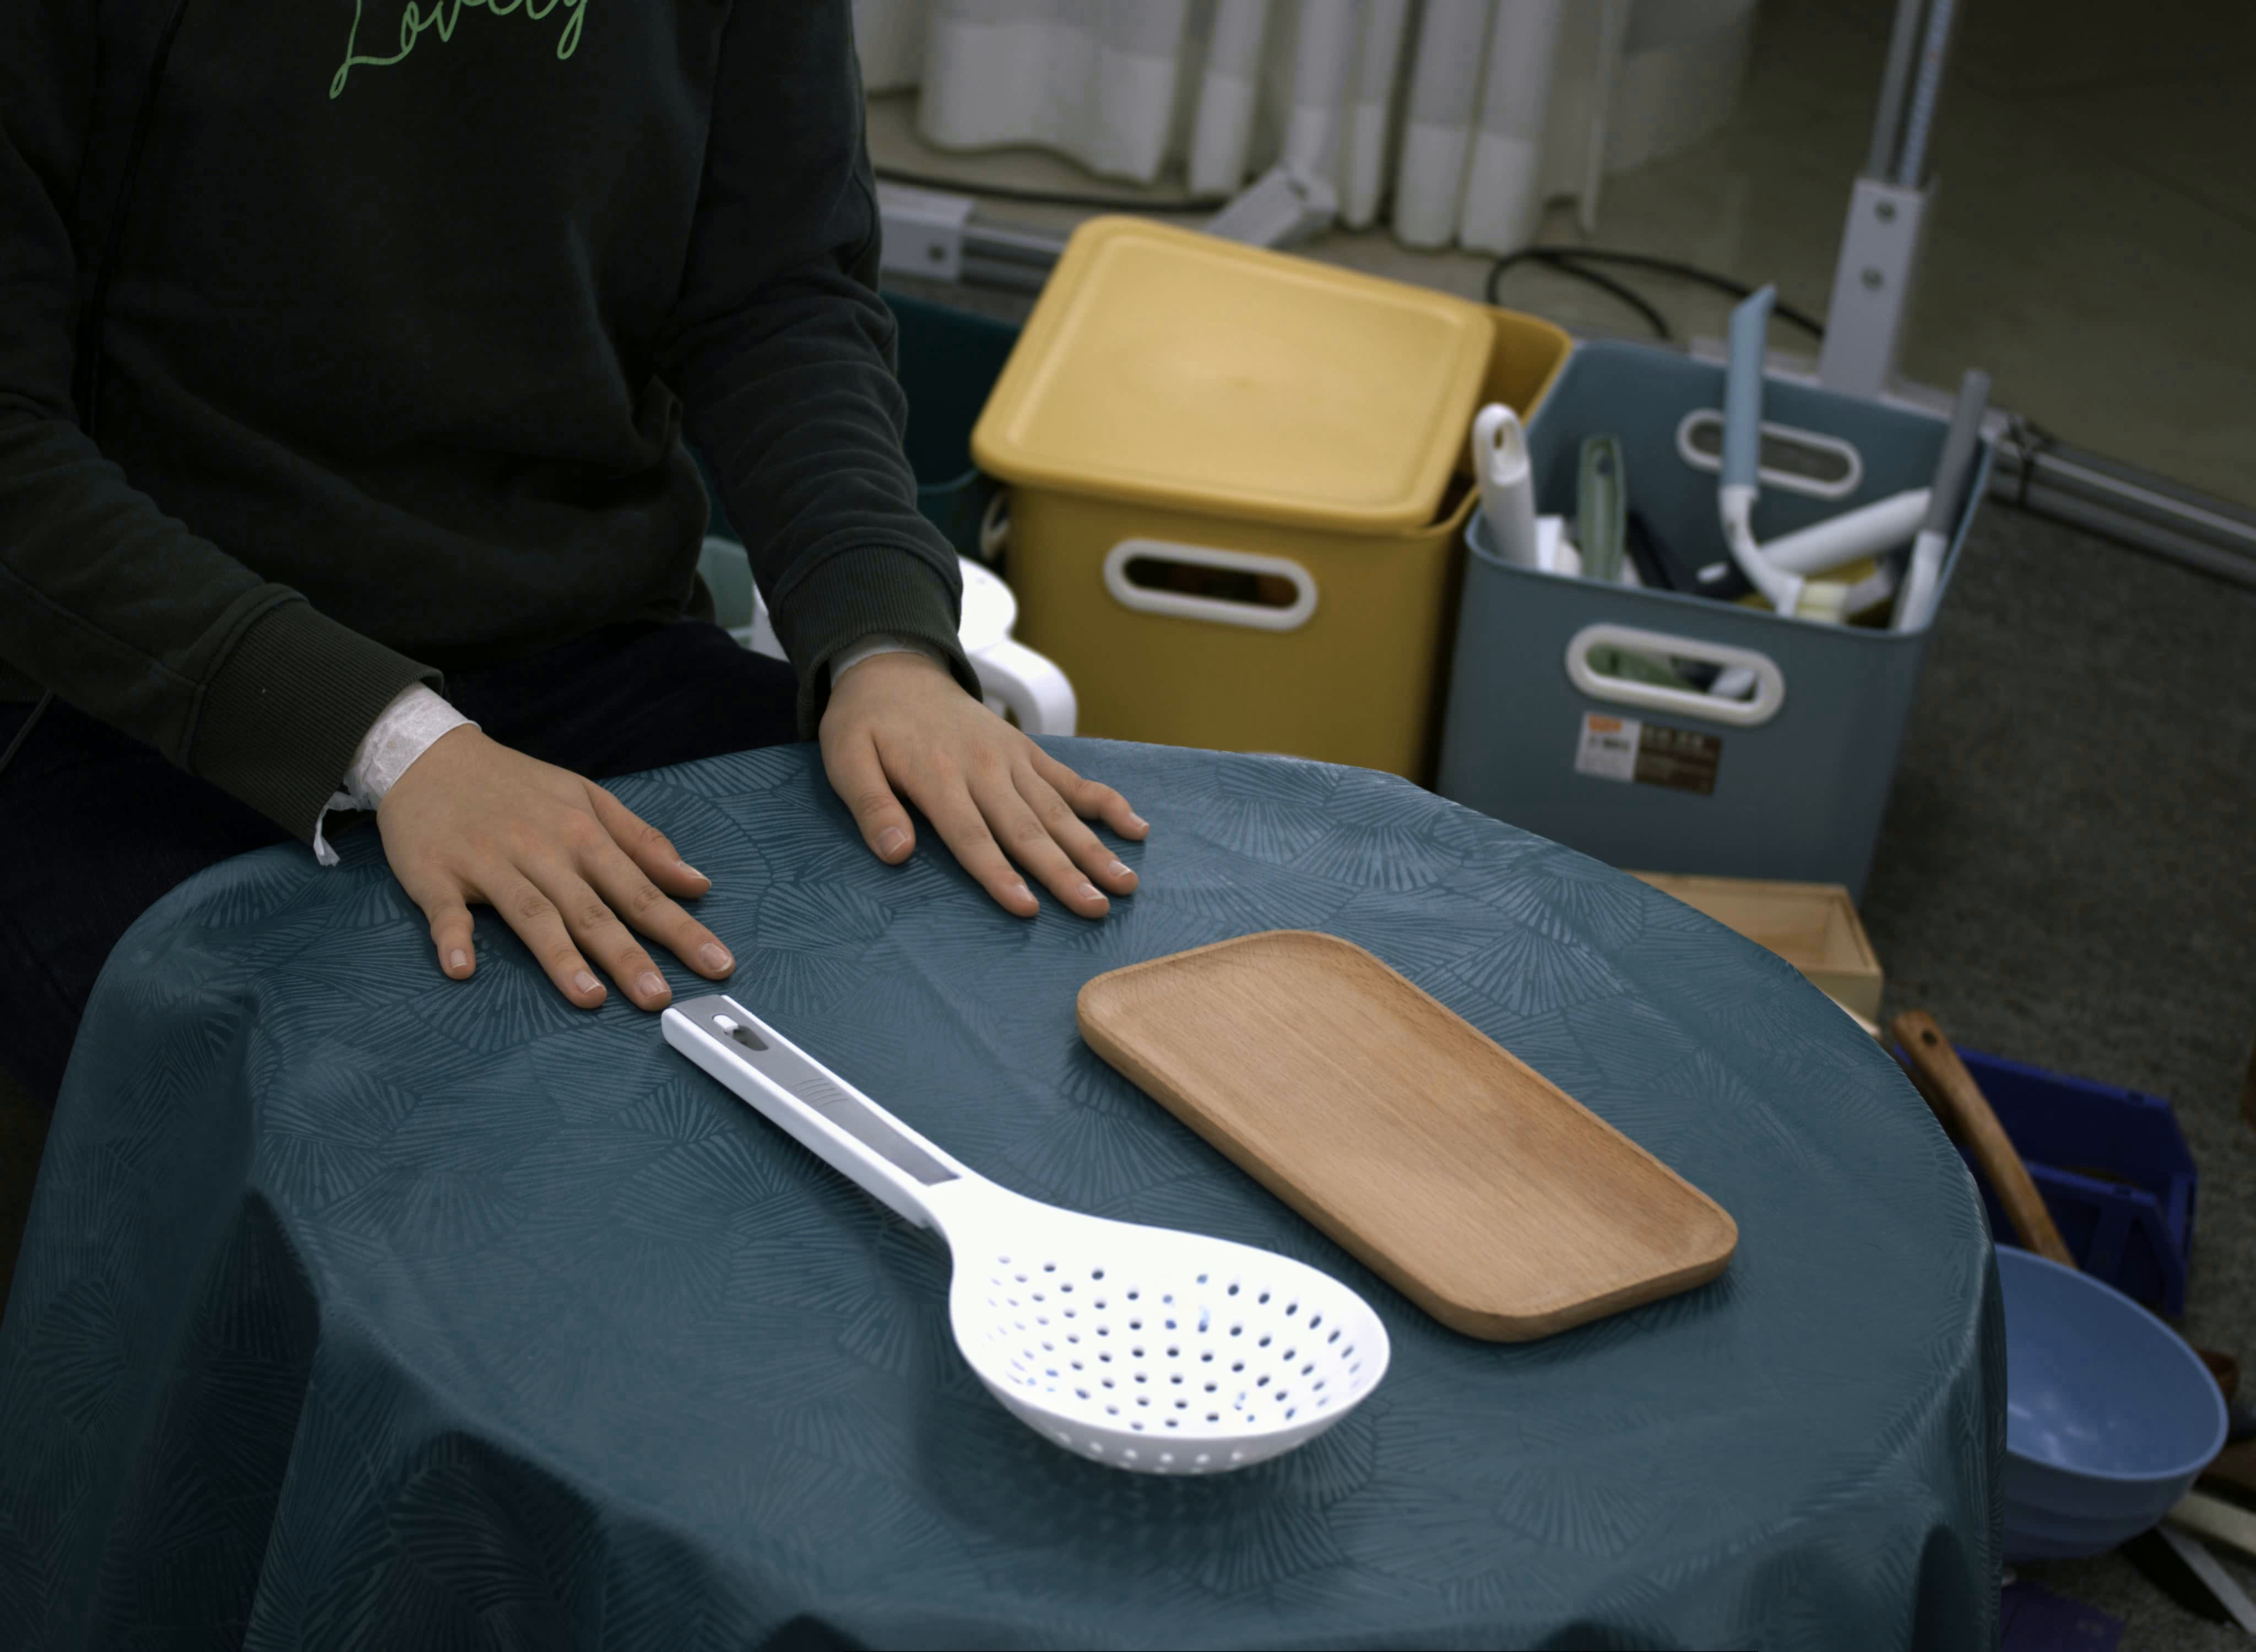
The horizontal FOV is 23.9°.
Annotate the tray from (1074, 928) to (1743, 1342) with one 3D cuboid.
[{"bbox_3d":[0.093,0.104,1.841,0.130,0.023,0.253,-11,31,-34],"label":"tray"}]

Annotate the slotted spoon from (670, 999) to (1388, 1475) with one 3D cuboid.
[{"bbox_3d":[-0.050,0.127,1.731,0.135,0.045,0.353,-10,30,-34],"label":"slotted spoon"}]
